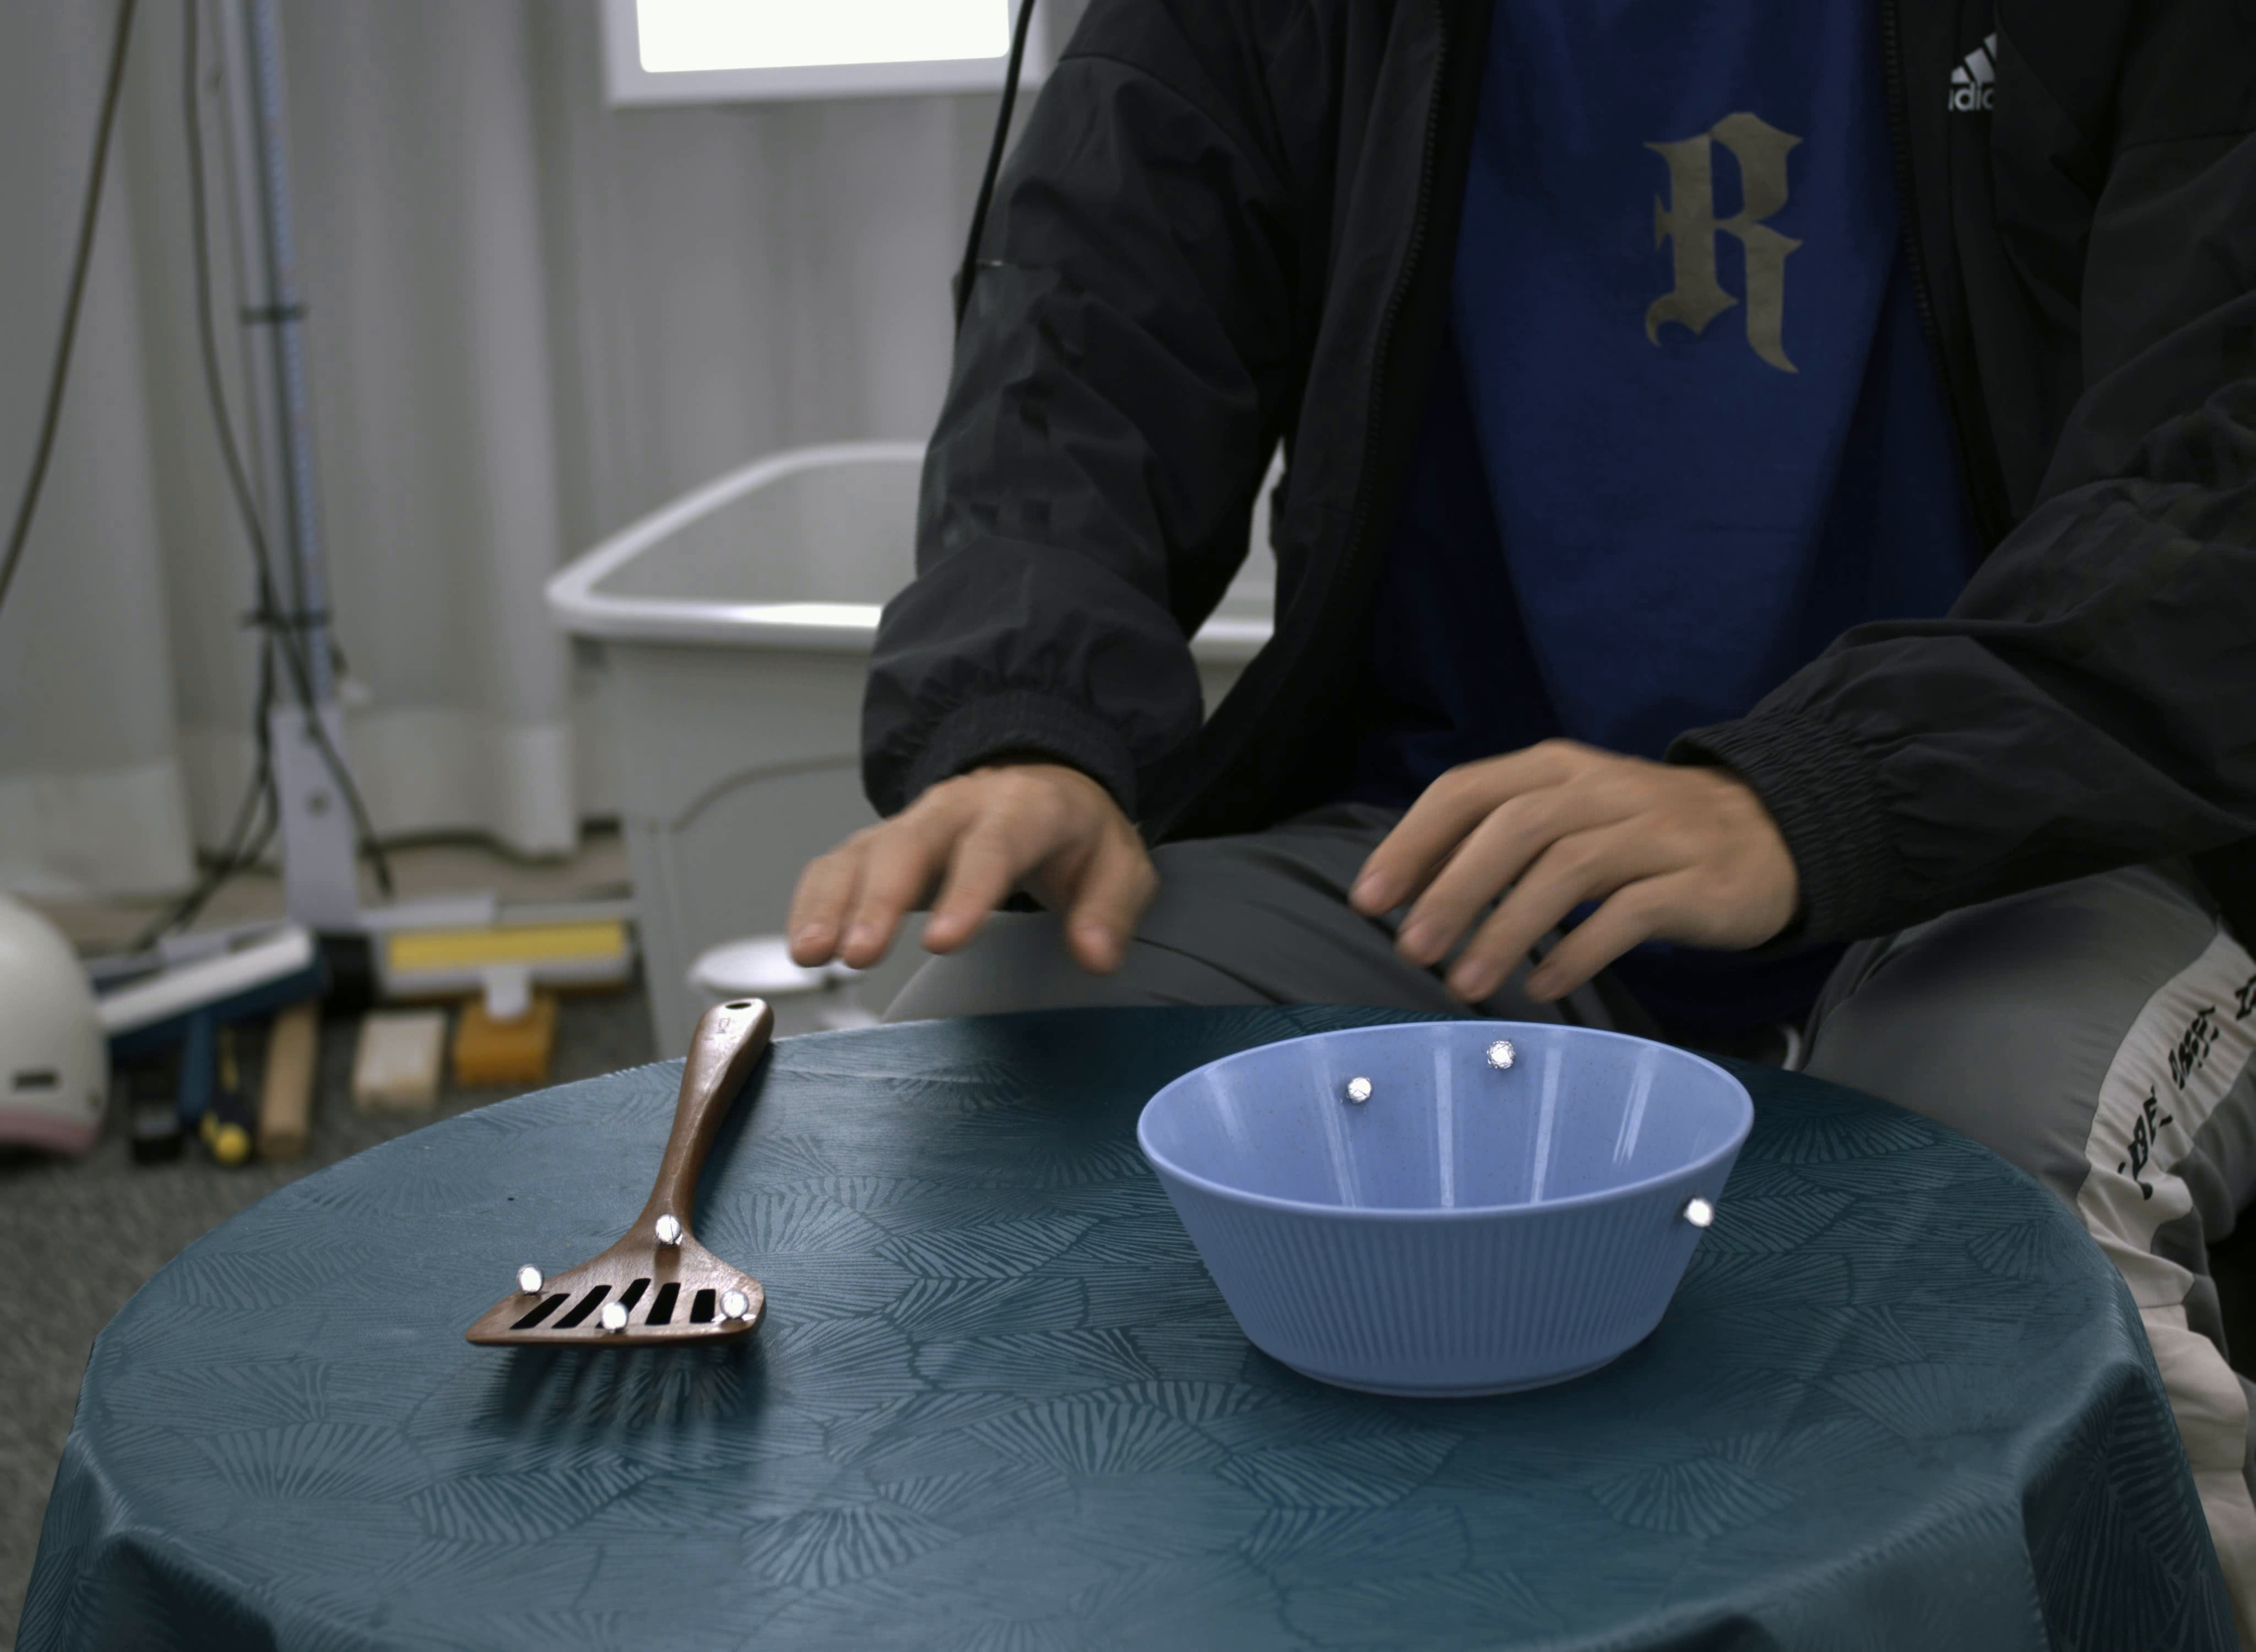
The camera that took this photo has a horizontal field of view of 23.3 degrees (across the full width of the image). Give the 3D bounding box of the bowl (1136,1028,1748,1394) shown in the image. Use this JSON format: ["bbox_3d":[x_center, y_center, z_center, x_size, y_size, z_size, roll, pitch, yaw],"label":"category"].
[{"bbox_3d":[0.090,0.113,1.564,0.175,0.070,0.177,-2,14,0],"label":"bowl"}]

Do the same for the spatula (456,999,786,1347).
[{"bbox_3d":[-0.140,0.110,1.718,0.085,0.024,0.389,-1,13,3],"label":"spatula"}]
